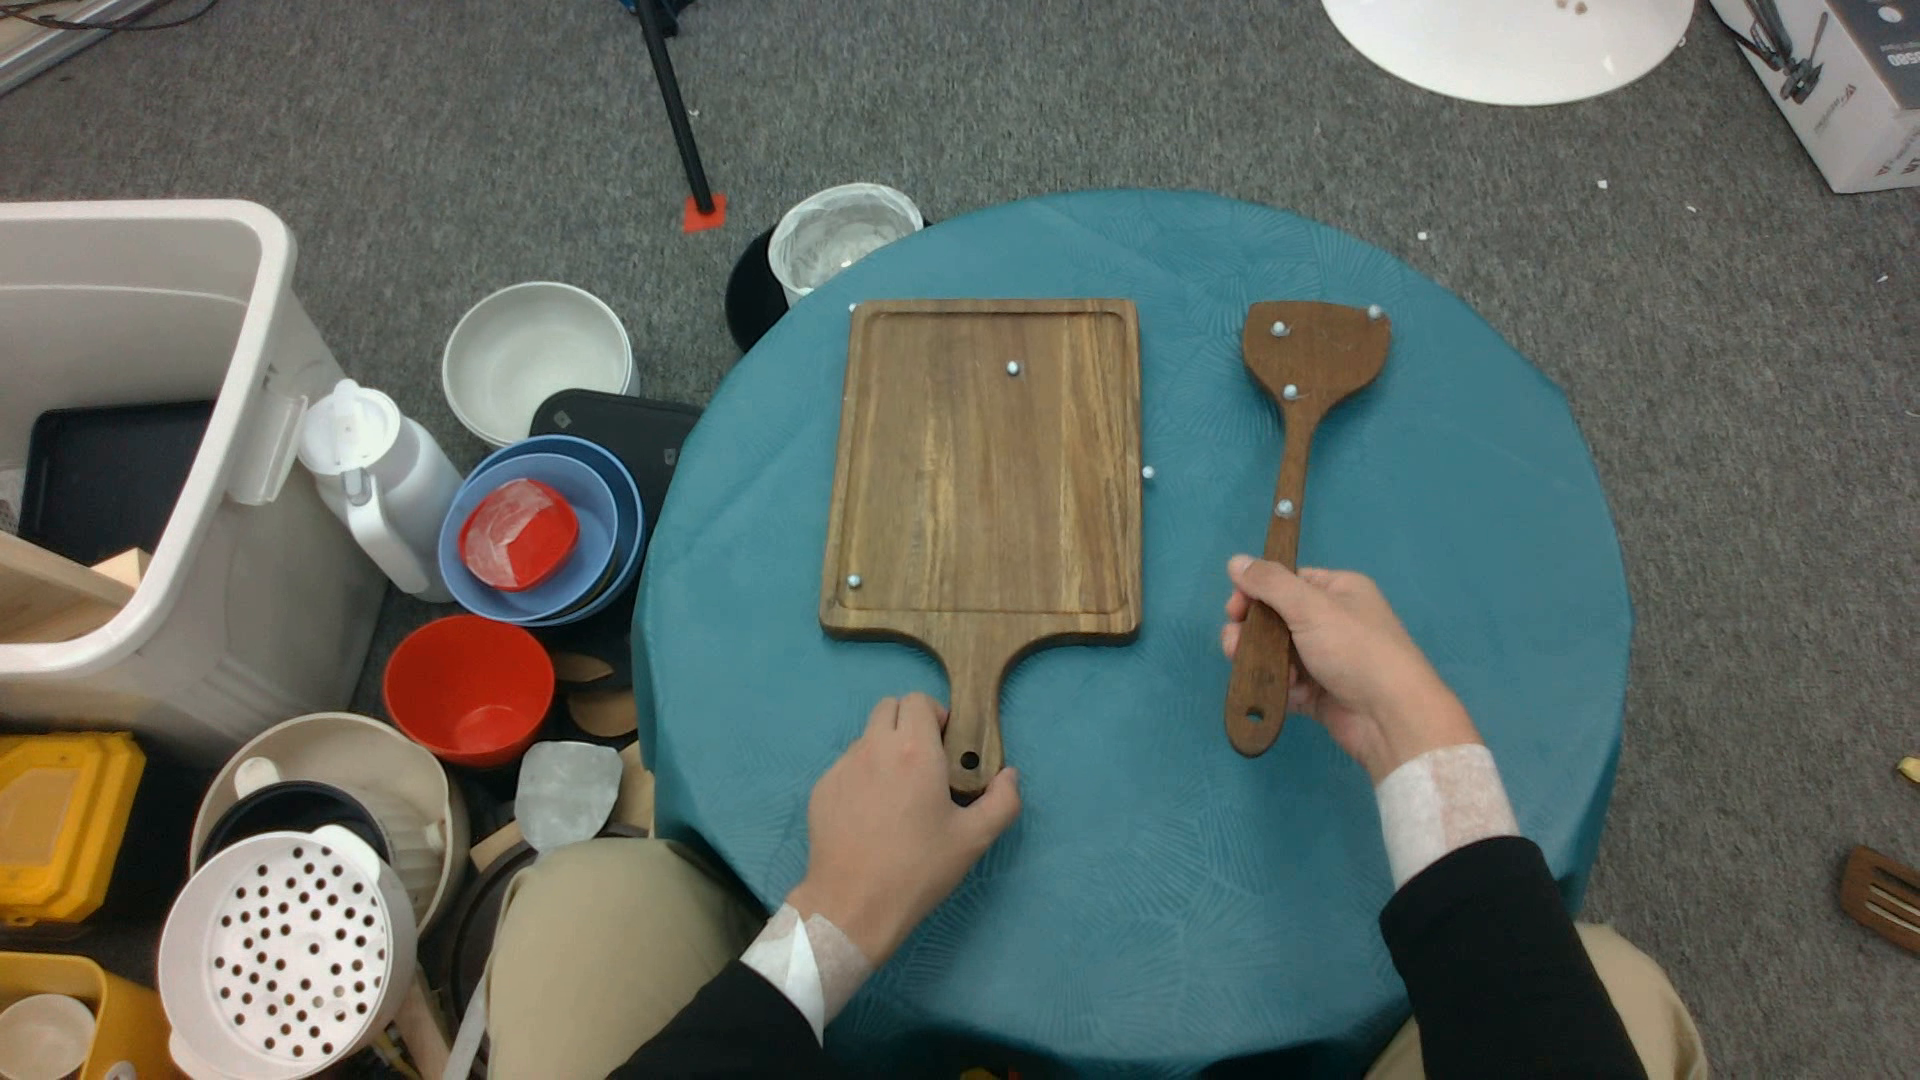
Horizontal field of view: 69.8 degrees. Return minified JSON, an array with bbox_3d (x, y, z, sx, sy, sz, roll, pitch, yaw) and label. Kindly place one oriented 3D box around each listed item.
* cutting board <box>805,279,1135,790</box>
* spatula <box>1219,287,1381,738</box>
[{"bbox_3d":[0.007,-0.017,0.856,0.201,0.023,0.353,0,62,4],"label":"cutting board"},{"bbox_3d":[0.188,-0.039,0.800,0.096,0.016,0.388,6,44,15],"label":"spatula"}]
